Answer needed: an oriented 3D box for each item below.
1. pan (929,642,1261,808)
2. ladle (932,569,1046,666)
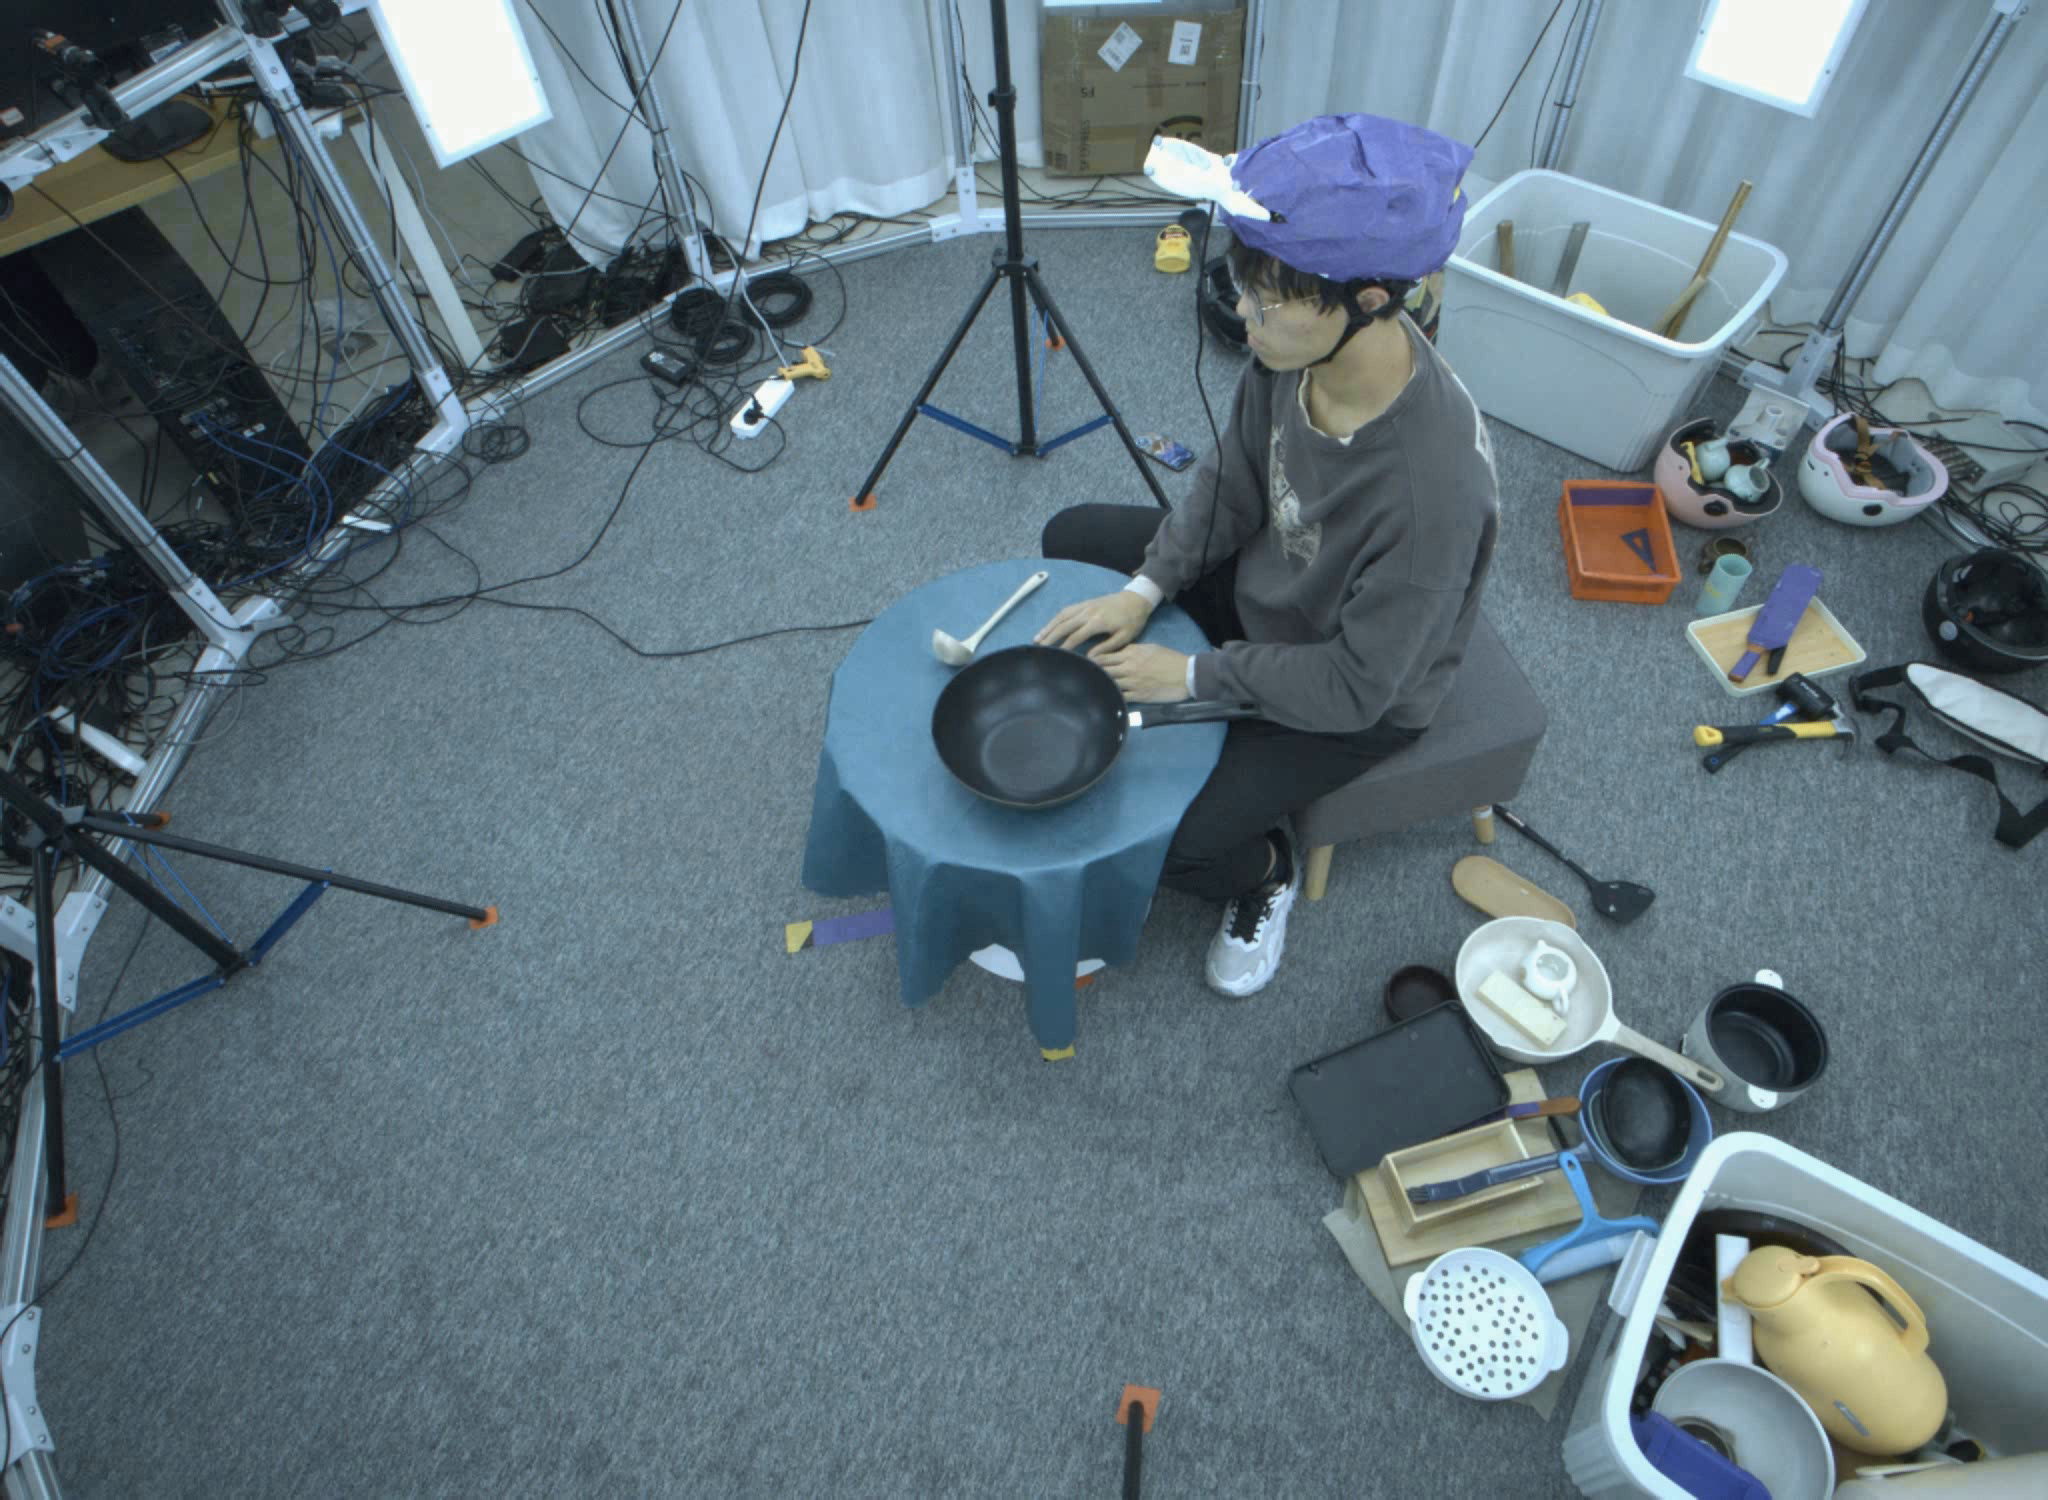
[{"bbox_3d":[0.100,-0.026,1.749,0.464,0.088,0.285,-2,54,-1],"label":"pan"},{"bbox_3d":[-0.047,-0.228,1.905,0.071,0.074,0.255,28,61,24],"label":"ladle"}]
